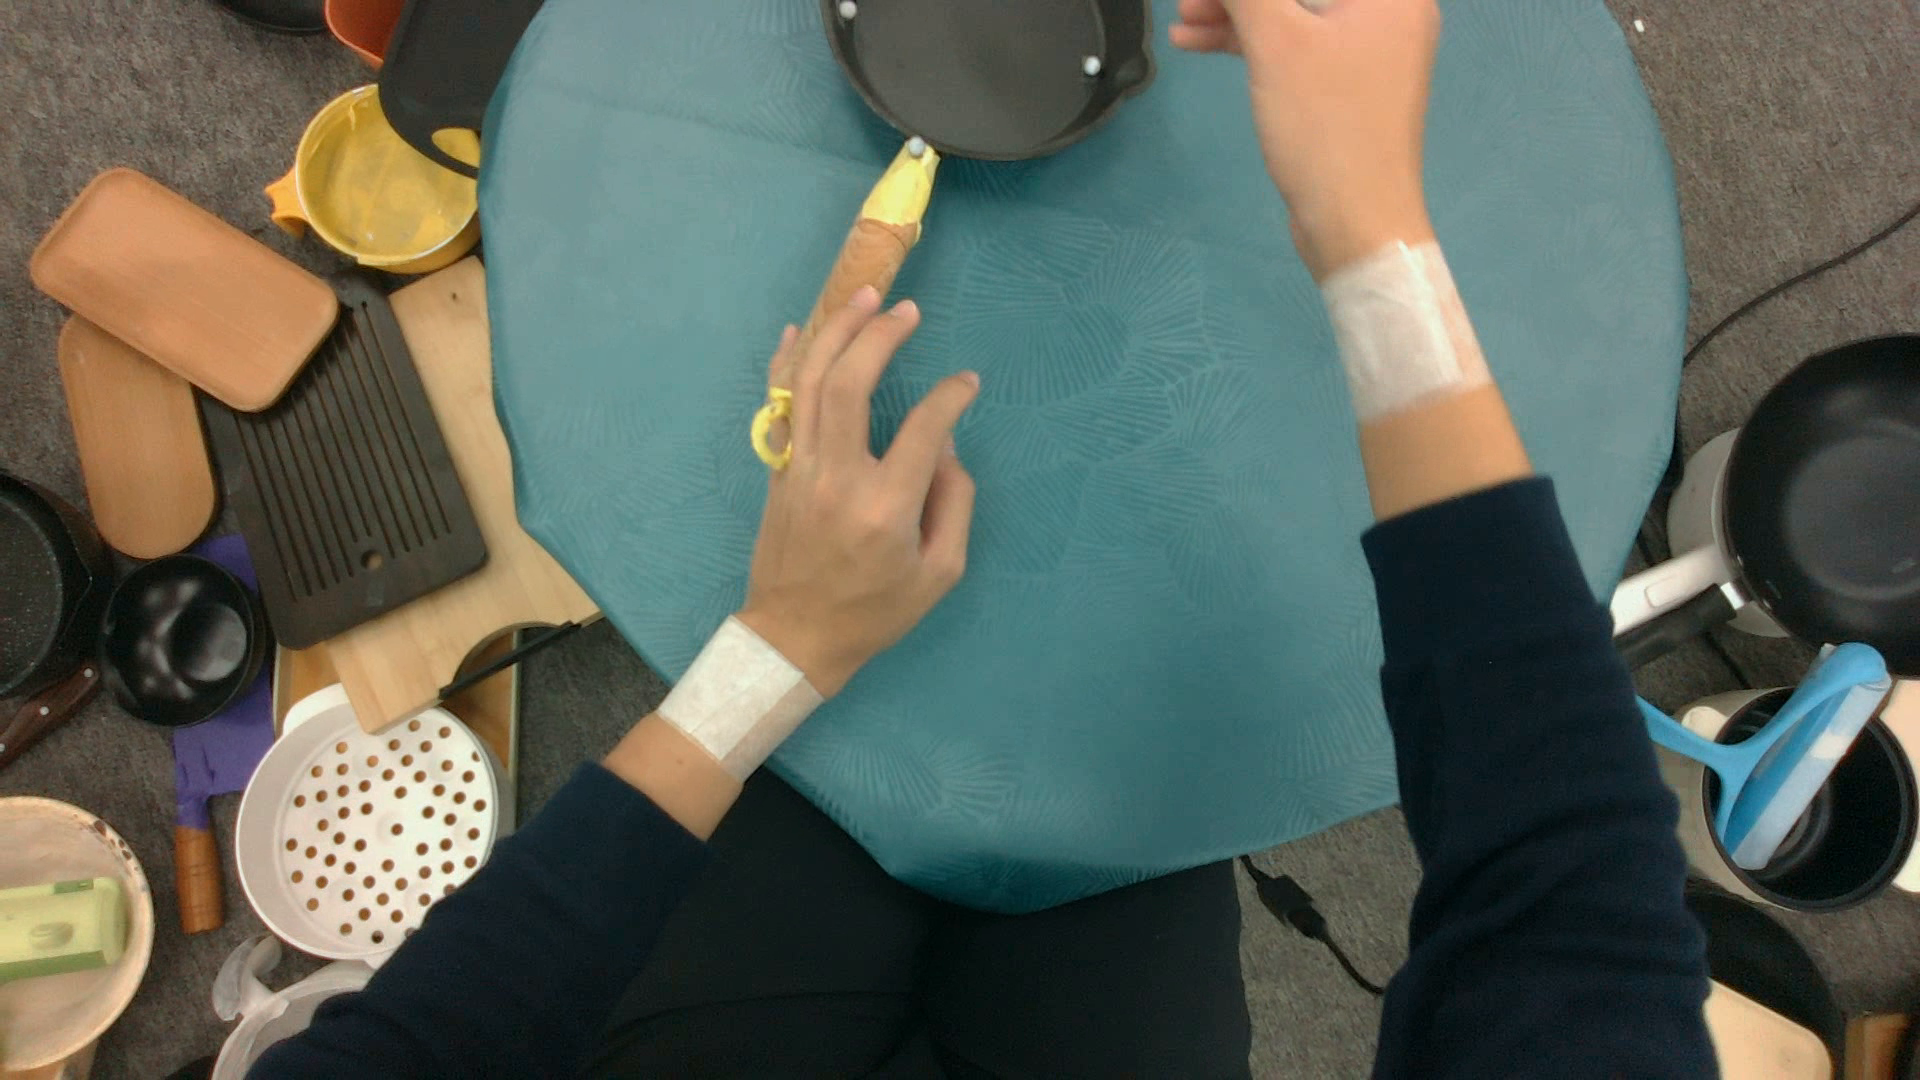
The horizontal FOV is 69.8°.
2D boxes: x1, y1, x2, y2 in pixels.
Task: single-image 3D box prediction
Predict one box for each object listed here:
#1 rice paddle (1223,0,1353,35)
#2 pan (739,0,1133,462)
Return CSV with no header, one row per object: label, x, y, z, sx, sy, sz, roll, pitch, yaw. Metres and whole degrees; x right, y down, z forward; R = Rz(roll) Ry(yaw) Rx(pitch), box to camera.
rice paddle,0.064,-0.246,0.560,0.205,0.029,0.068,30,99,31
pan,-0.029,-0.179,0.638,0.169,0.049,0.325,24,75,-3
